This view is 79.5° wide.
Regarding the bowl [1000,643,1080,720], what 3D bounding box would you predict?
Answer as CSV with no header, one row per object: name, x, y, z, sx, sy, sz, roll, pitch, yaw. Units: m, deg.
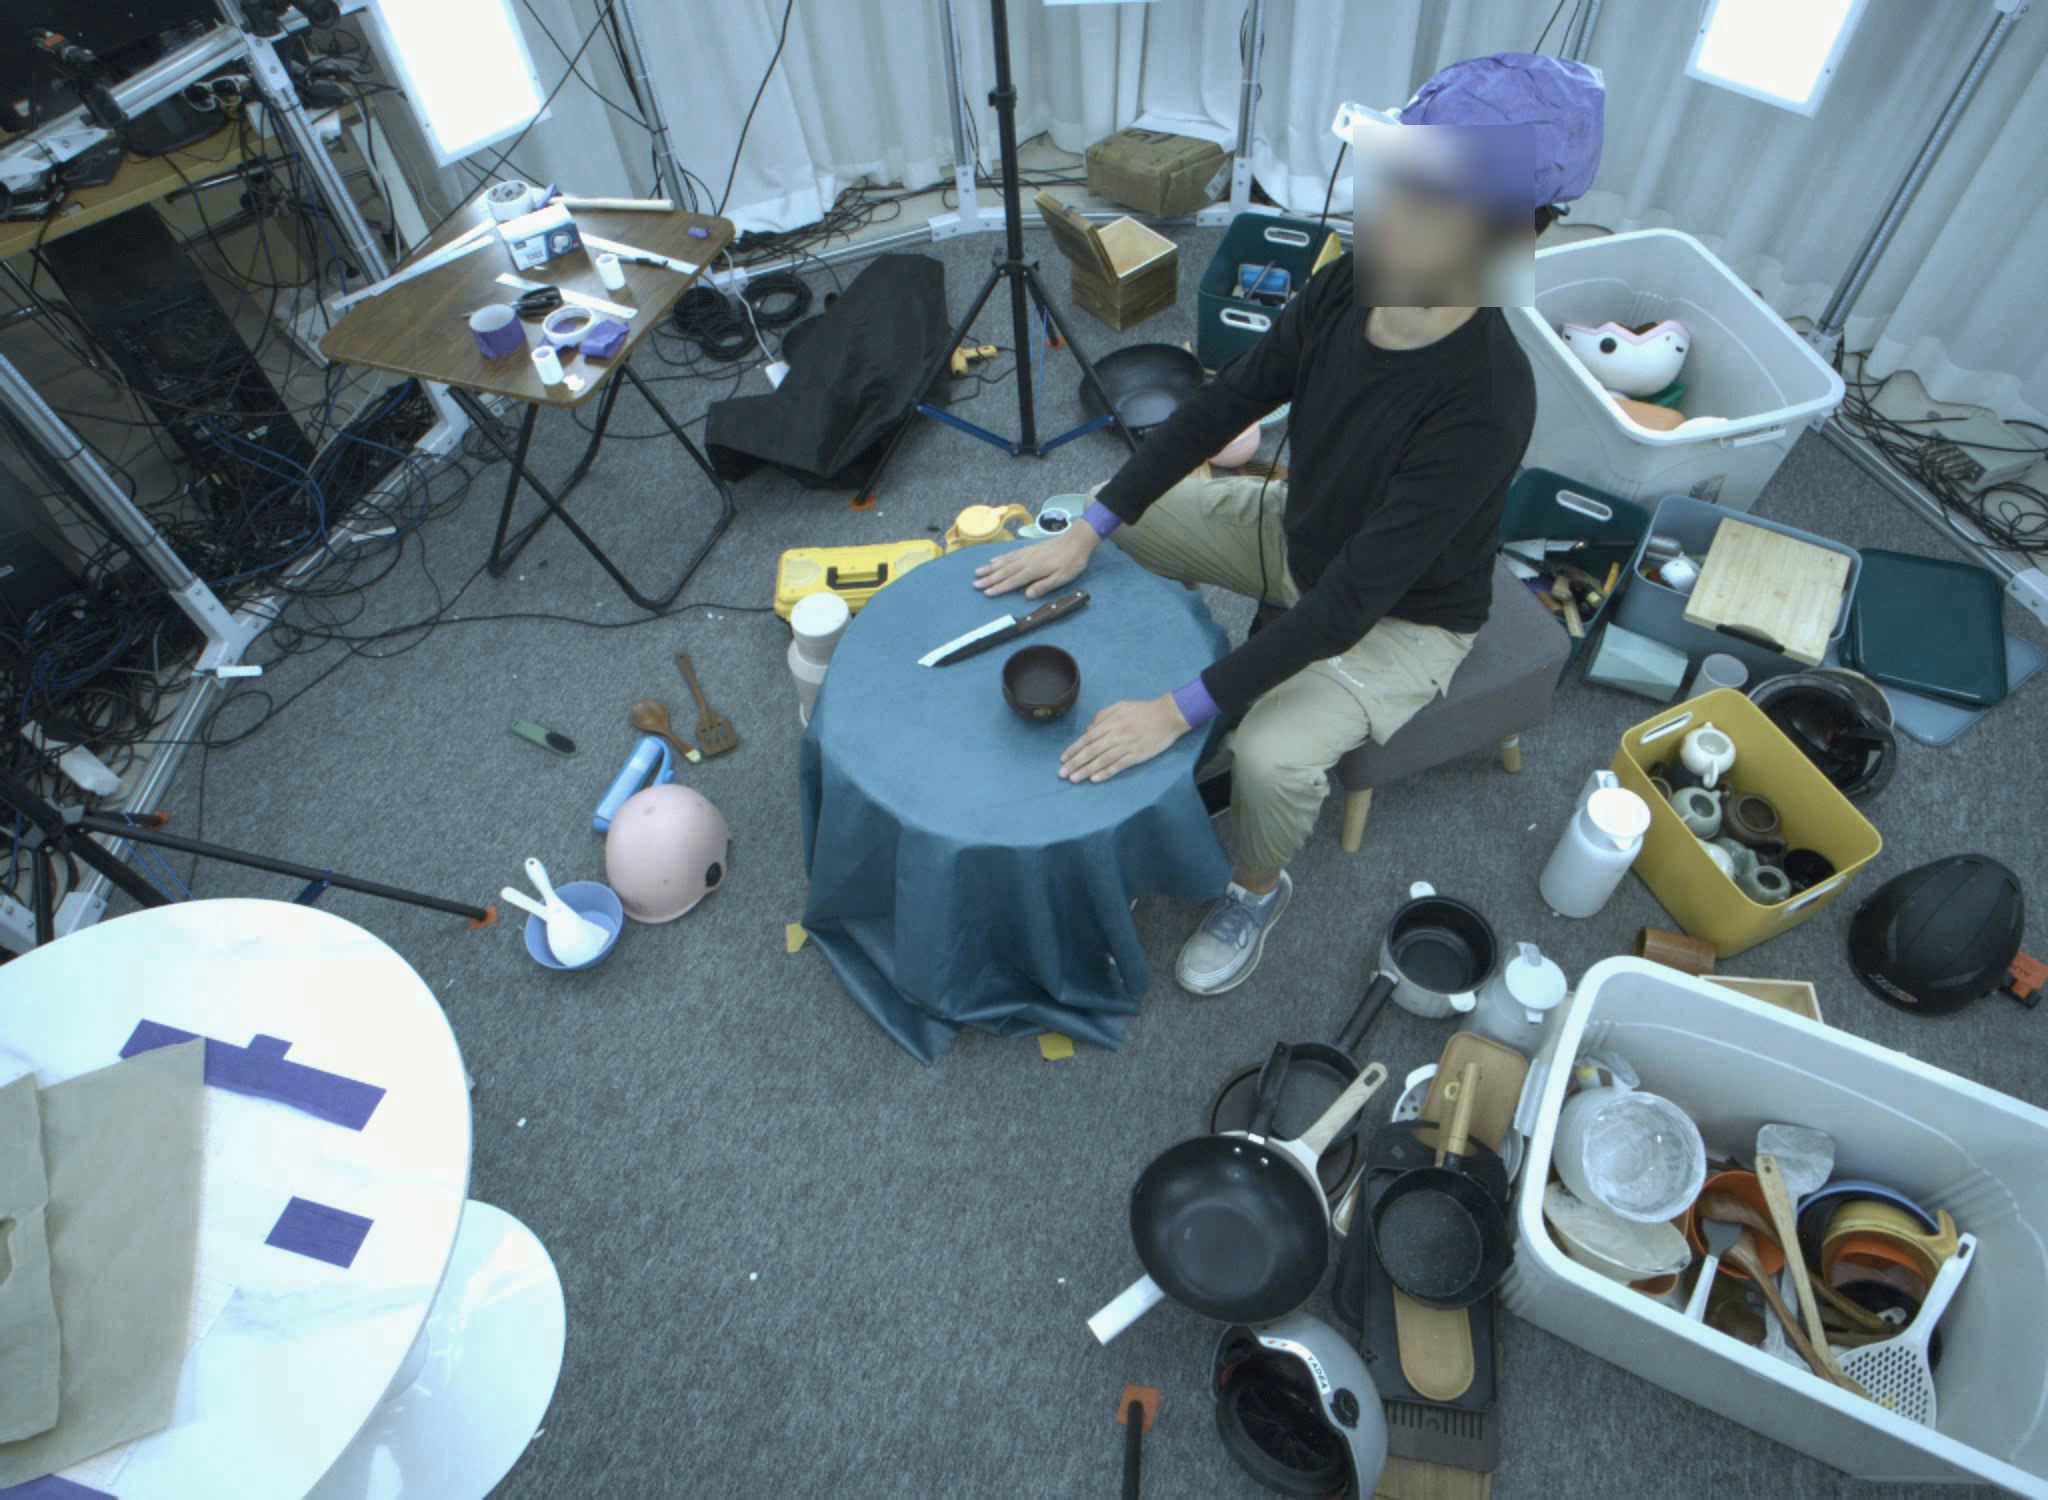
bowl,0.024,-0.092,1.804,0.118,0.070,0.117,0,54,1

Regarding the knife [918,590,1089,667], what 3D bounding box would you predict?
knife,-0.032,-0.188,1.909,0.291,0.020,0.049,-23,52,-11
